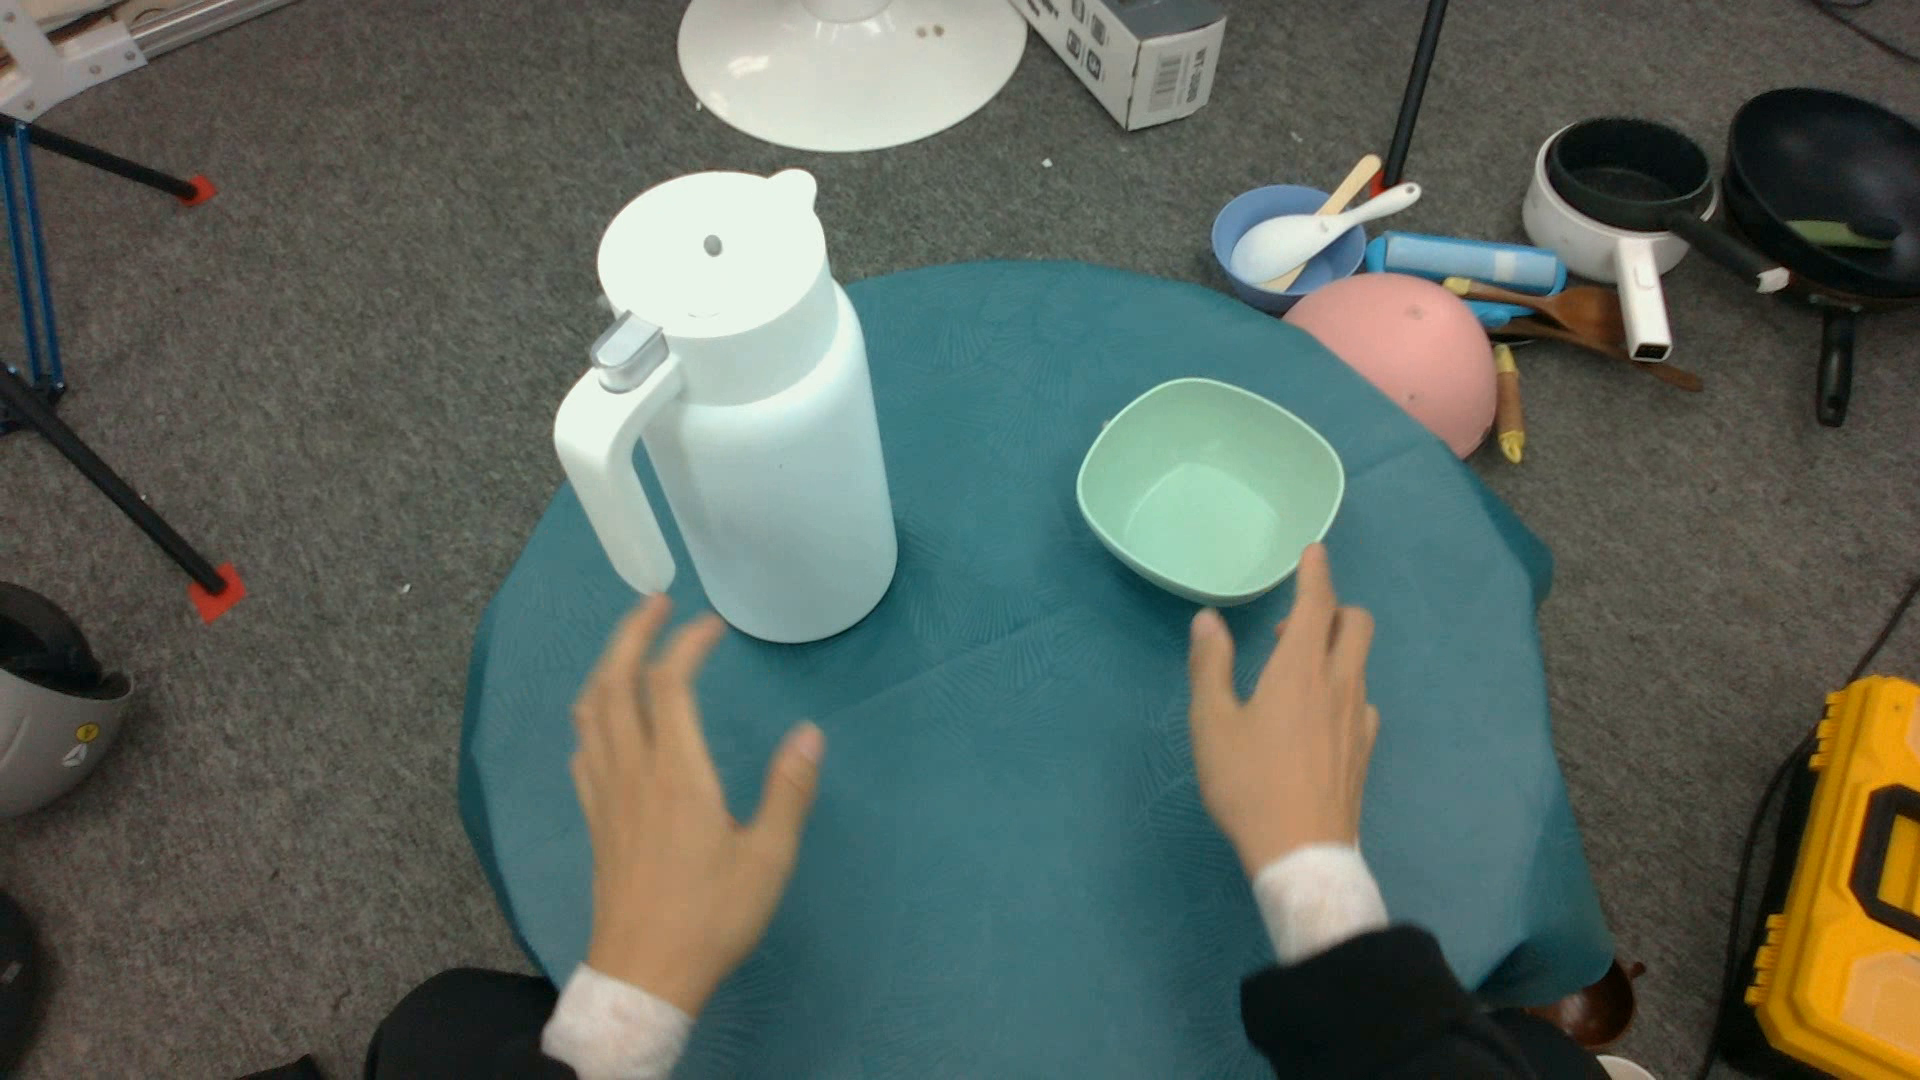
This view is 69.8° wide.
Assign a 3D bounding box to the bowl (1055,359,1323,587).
[{"bbox_3d":[0.130,-0.030,0.798,0.151,0.058,0.152,-1,58,1],"label":"bowl"}]

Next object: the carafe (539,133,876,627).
[{"bbox_3d":[-0.119,-0.053,0.697,0.124,0.267,0.173,26,63,15],"label":"carafe"}]
